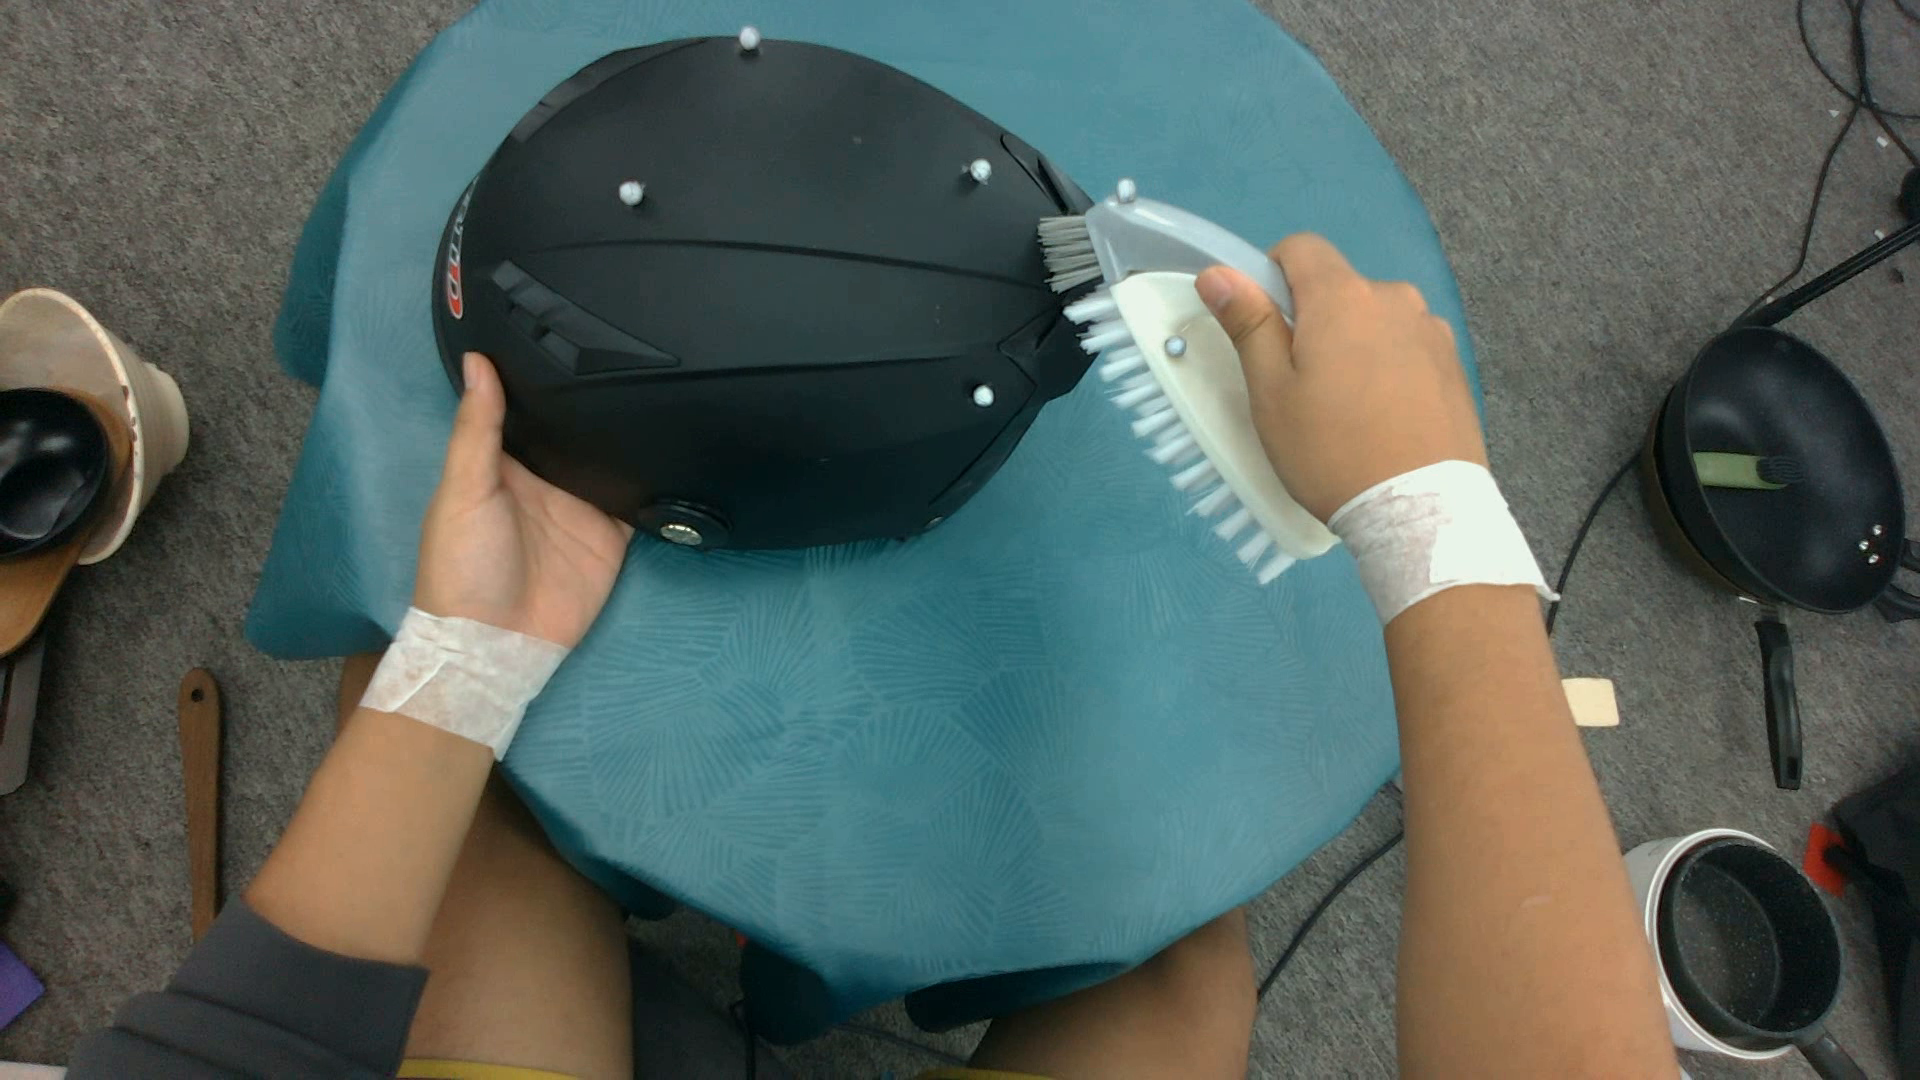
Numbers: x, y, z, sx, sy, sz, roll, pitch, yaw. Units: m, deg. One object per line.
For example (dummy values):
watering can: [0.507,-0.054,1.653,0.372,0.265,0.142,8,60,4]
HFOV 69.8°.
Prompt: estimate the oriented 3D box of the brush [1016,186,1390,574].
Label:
brush: [0.100,-0.076,0.545,0.175,0.094,0.062,51,51,-4]

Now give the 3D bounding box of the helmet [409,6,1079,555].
helmet: [-0.087,-0.124,0.595,0.277,0.171,0.247,9,70,-20]
